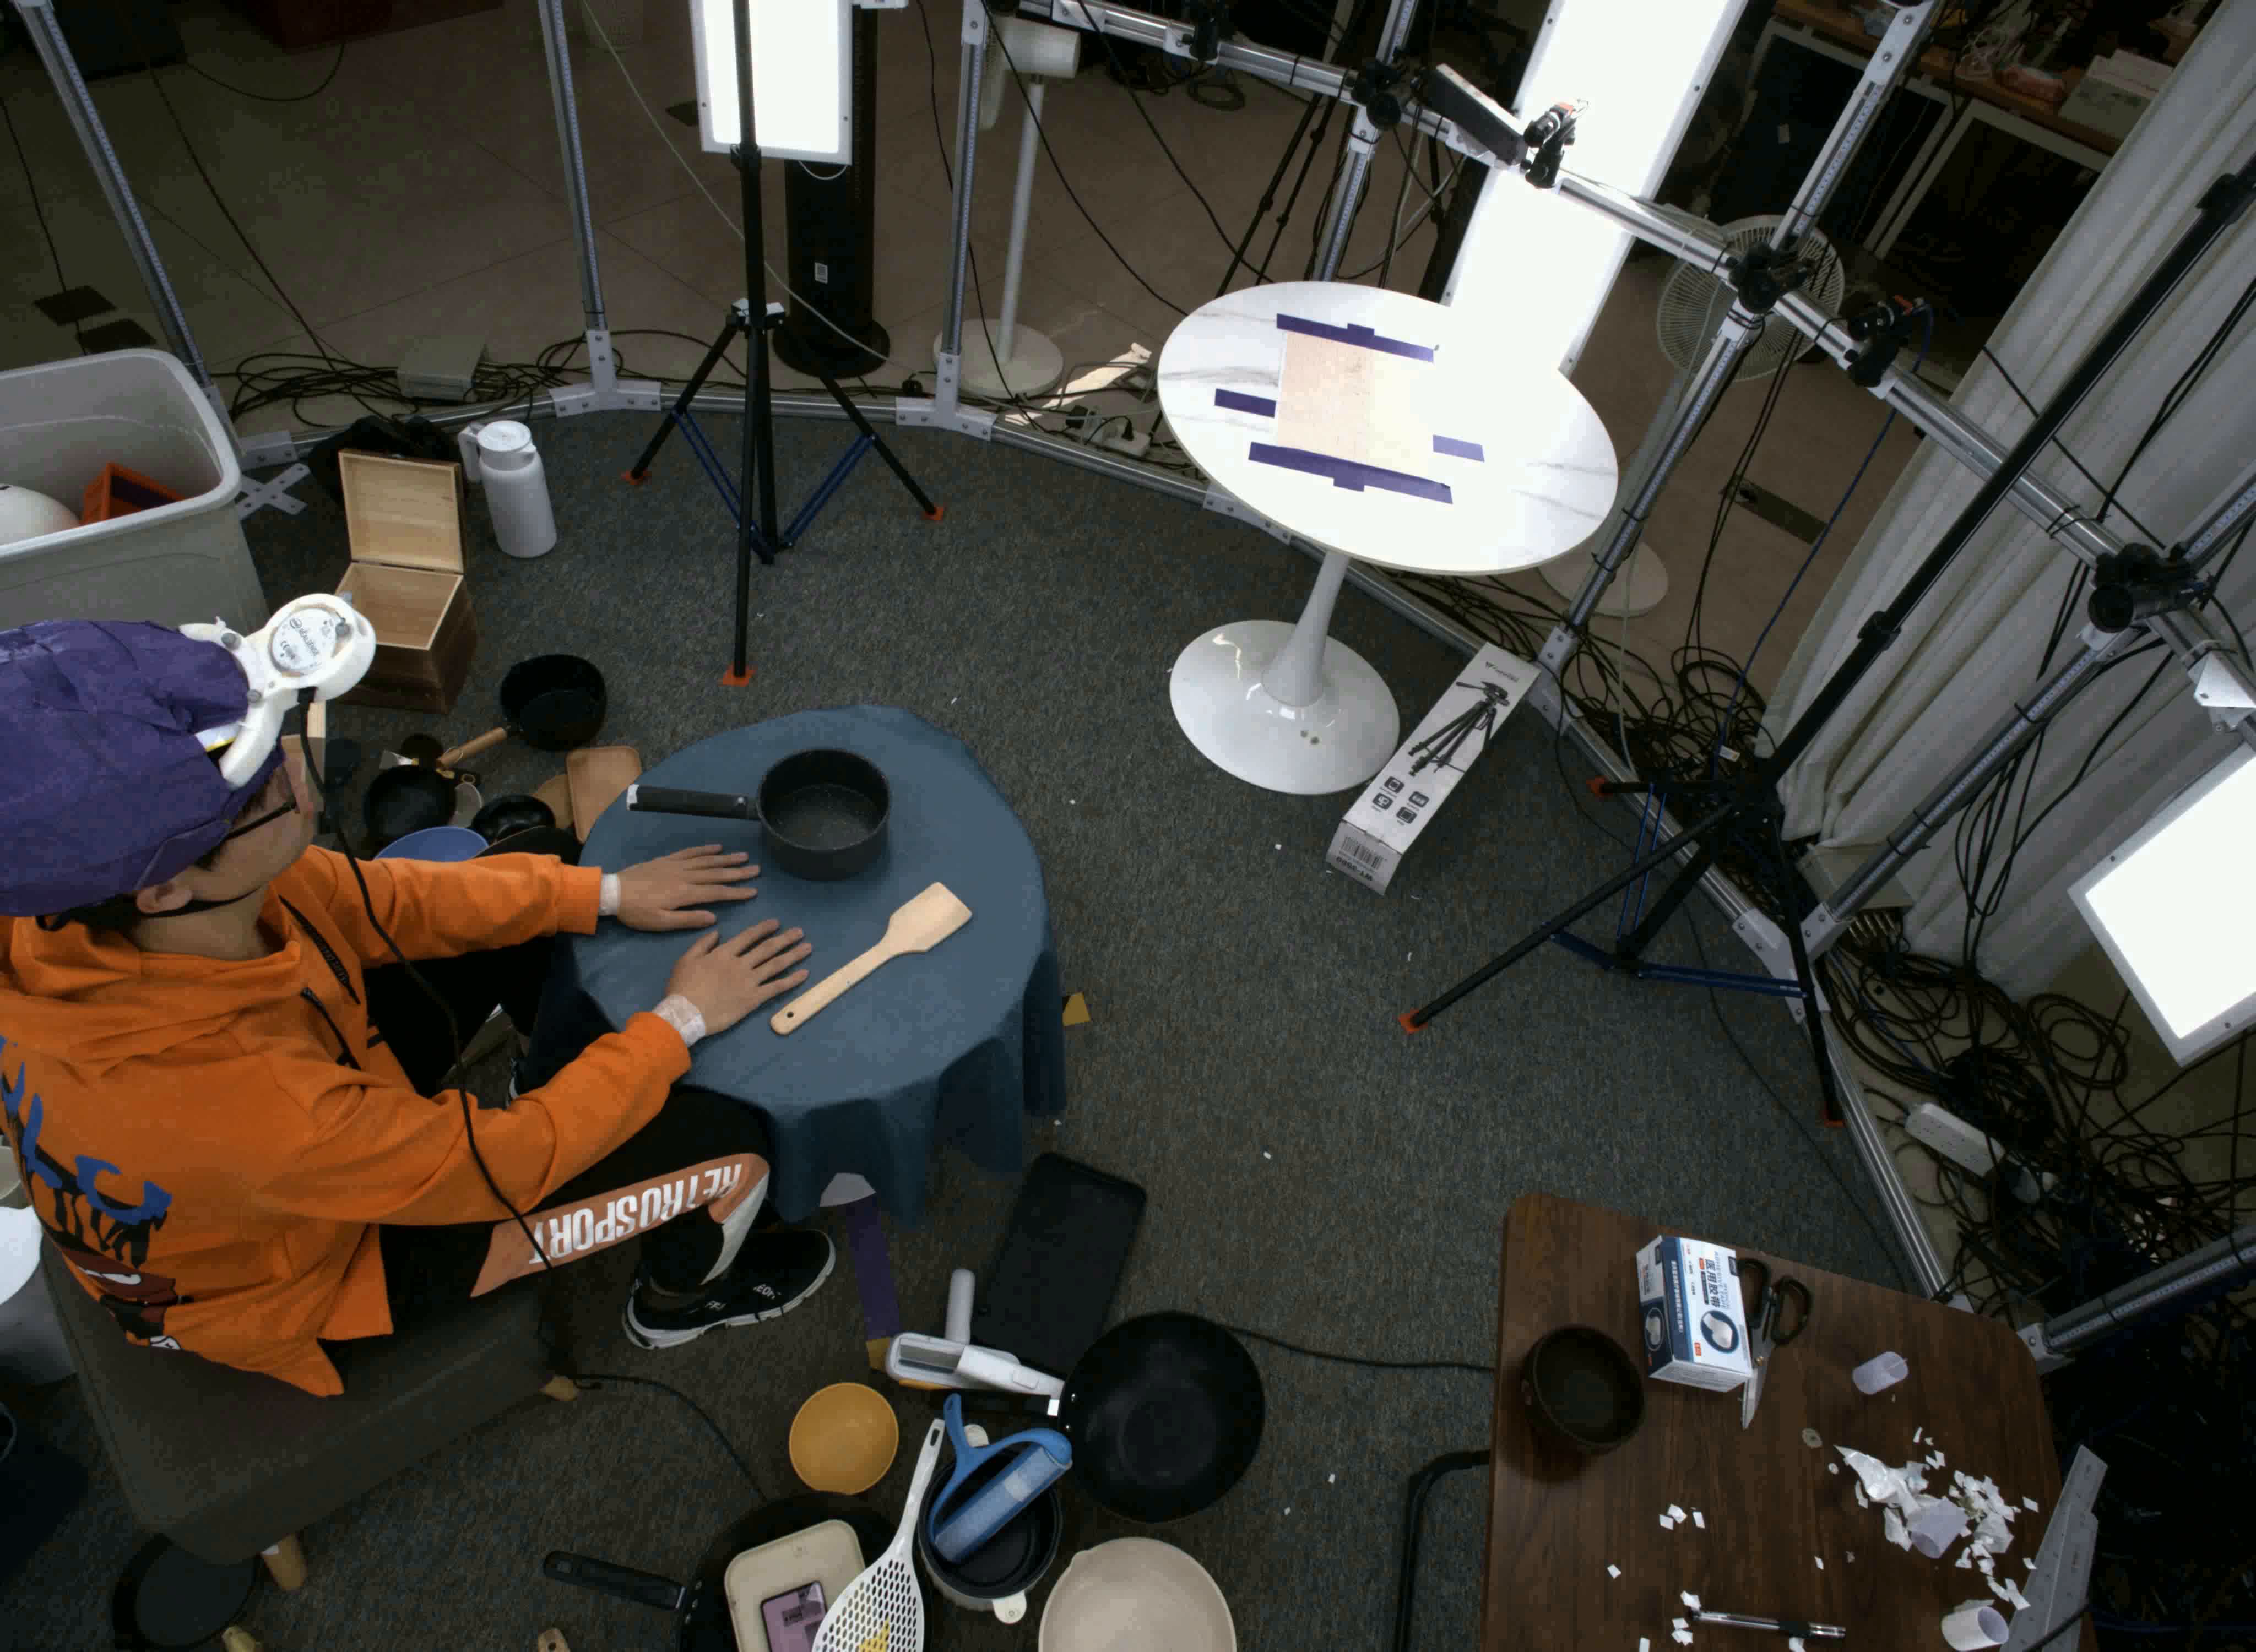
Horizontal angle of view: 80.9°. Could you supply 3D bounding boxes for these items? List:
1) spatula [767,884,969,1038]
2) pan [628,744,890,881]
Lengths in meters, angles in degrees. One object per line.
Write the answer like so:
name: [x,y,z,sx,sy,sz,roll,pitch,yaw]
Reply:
spatula: [-0.323,0.169,1.609,0.071,0.011,0.293,44,55,14]
pan: [-0.473,-0.020,1.661,0.329,0.088,0.168,3,52,-15]
